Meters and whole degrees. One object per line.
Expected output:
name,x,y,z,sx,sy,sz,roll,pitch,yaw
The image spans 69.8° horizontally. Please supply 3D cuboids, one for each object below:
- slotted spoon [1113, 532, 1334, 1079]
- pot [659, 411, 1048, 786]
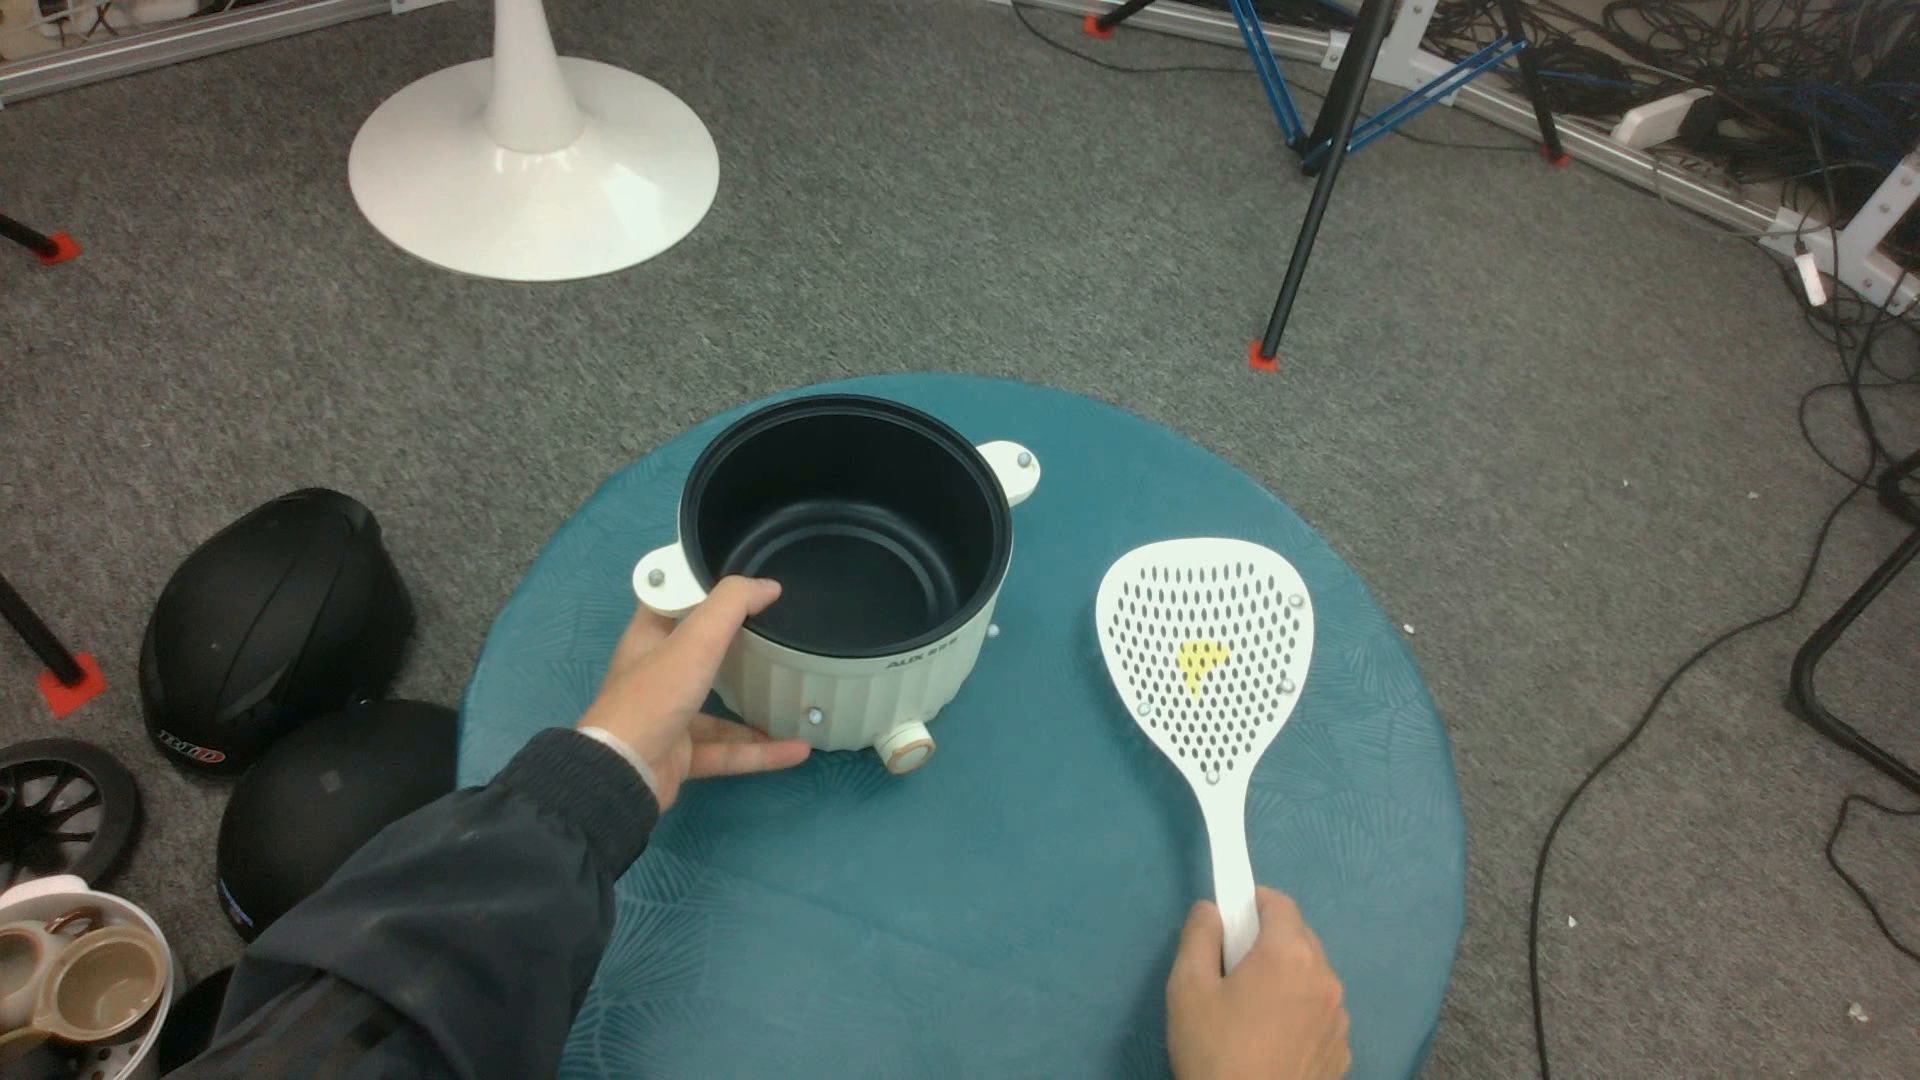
slotted spoon,0.171,0.142,0.810,0.137,0.050,0.349,-6,50,4
pot,-0.054,0.040,0.808,0.241,0.142,0.191,-23,55,-22
